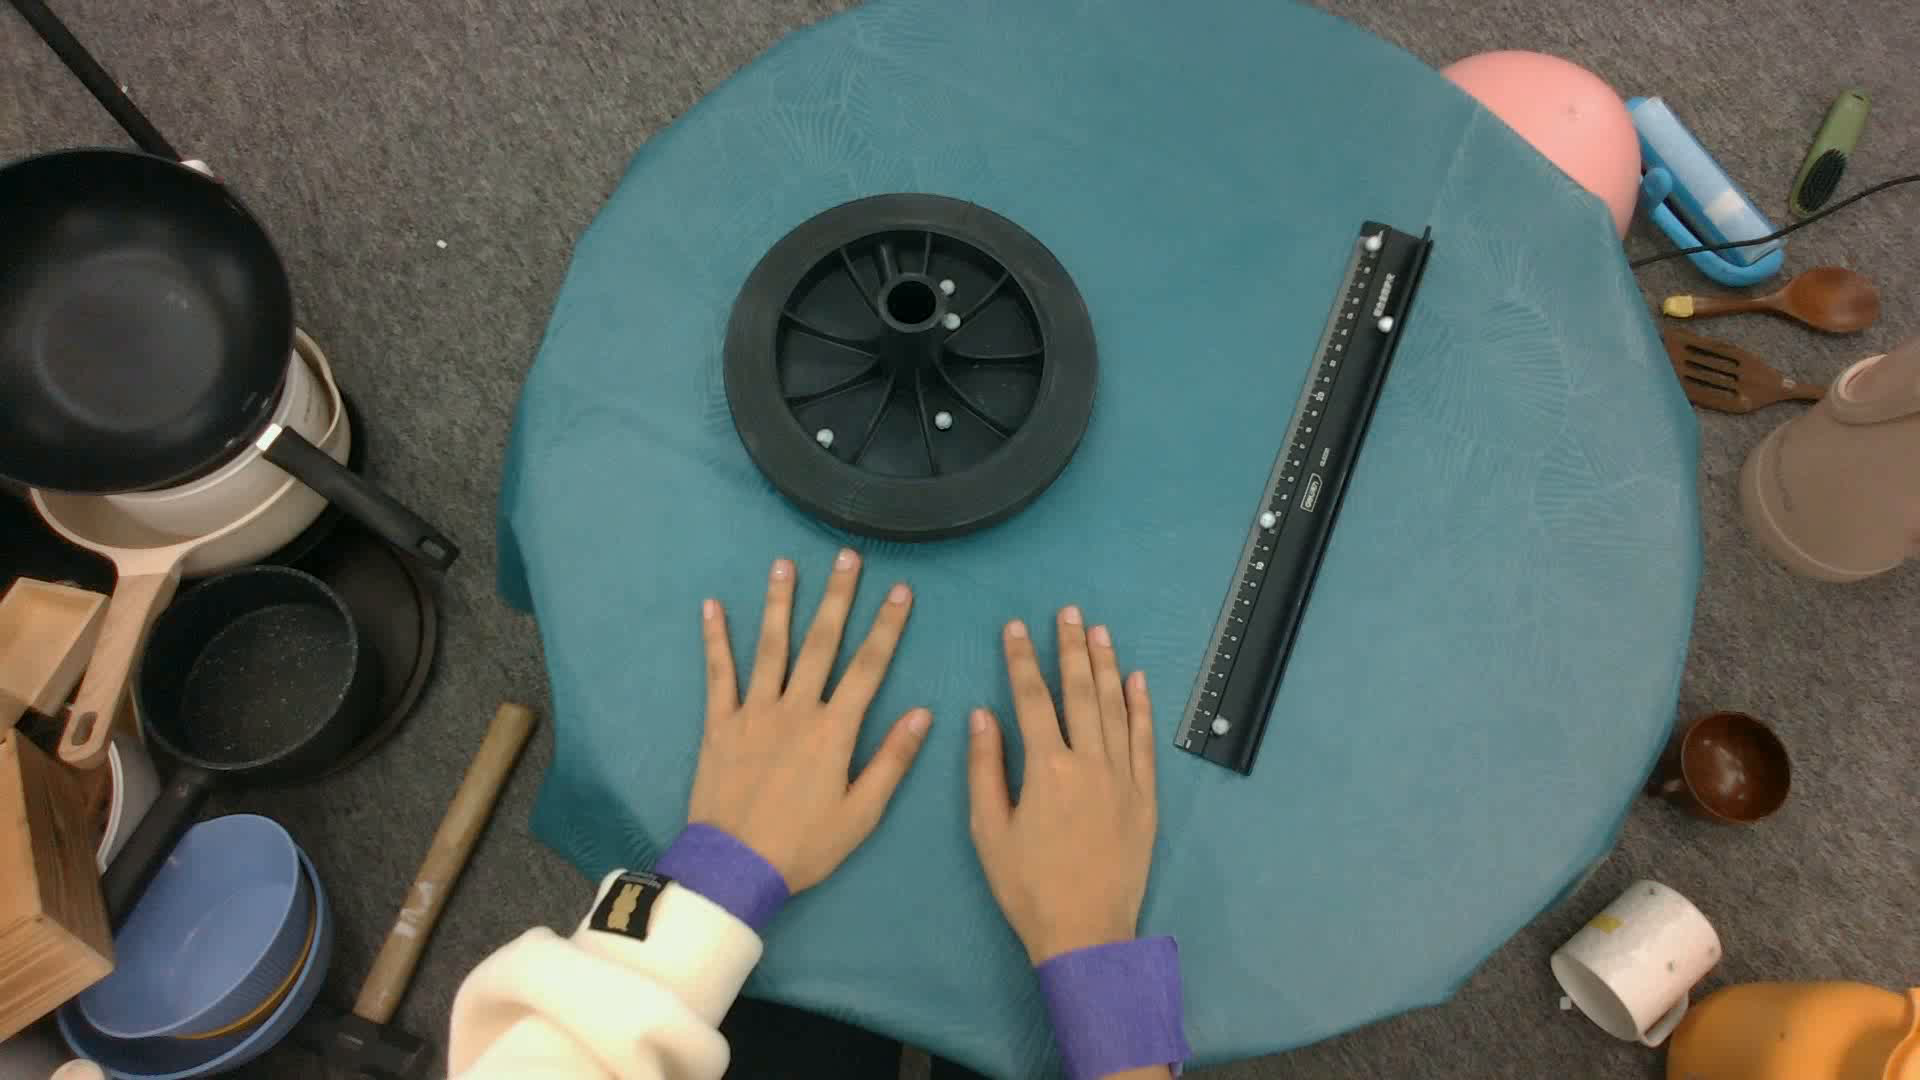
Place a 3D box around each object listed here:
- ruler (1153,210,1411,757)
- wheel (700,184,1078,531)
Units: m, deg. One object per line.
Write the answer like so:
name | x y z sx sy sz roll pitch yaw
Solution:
ruler | 0.168 -0.041 0.695 0.039 0.017 0.313 22 72 8
wheel | -0.034 -0.102 0.673 0.188 0.079 0.190 -33 76 -13
